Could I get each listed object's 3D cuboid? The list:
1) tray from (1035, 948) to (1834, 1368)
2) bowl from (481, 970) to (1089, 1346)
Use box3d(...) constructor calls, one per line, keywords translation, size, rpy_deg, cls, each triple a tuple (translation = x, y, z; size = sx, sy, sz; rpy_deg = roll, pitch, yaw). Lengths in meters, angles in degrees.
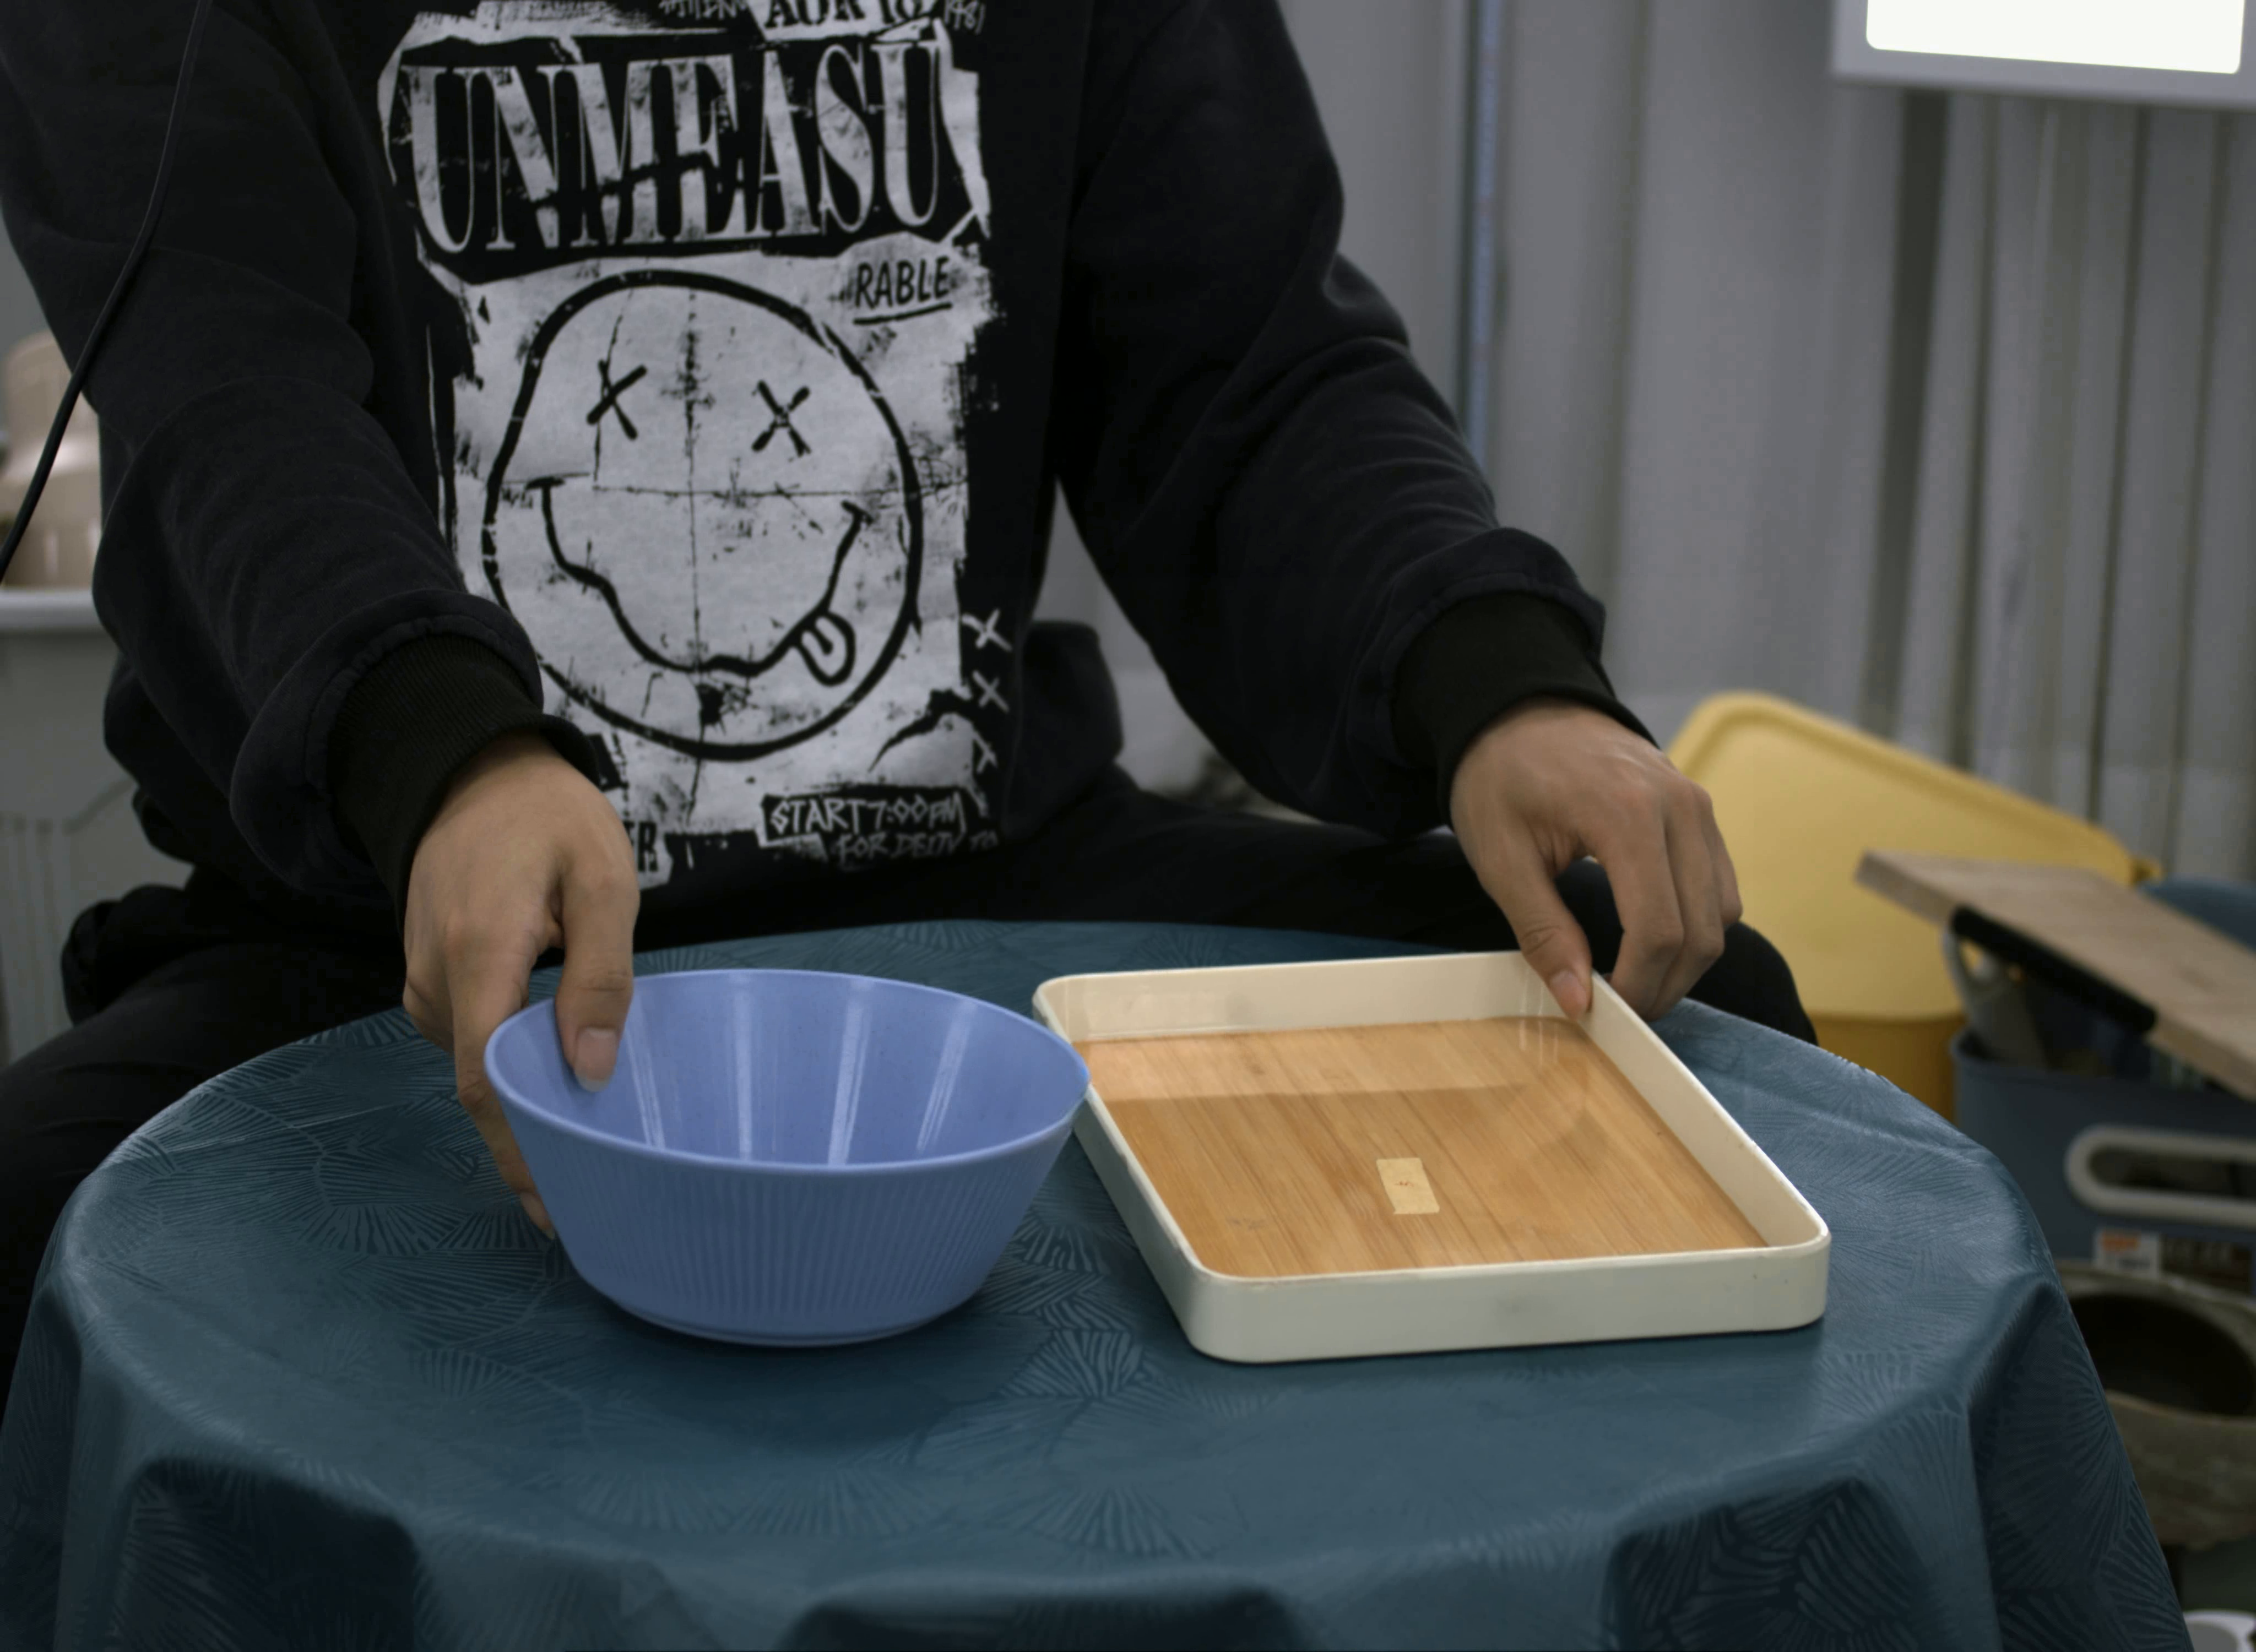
box3d(translation=(0.087, 0.098, 1.634), size=(0.191, 0.027, 0.297), rpy_deg=(-3, 16, -11), cls="tray")
box3d(translation=(-0.101, 0.099, 1.528), size=(0.175, 0.071, 0.175), rpy_deg=(5, 17, -1), cls="bowl")
